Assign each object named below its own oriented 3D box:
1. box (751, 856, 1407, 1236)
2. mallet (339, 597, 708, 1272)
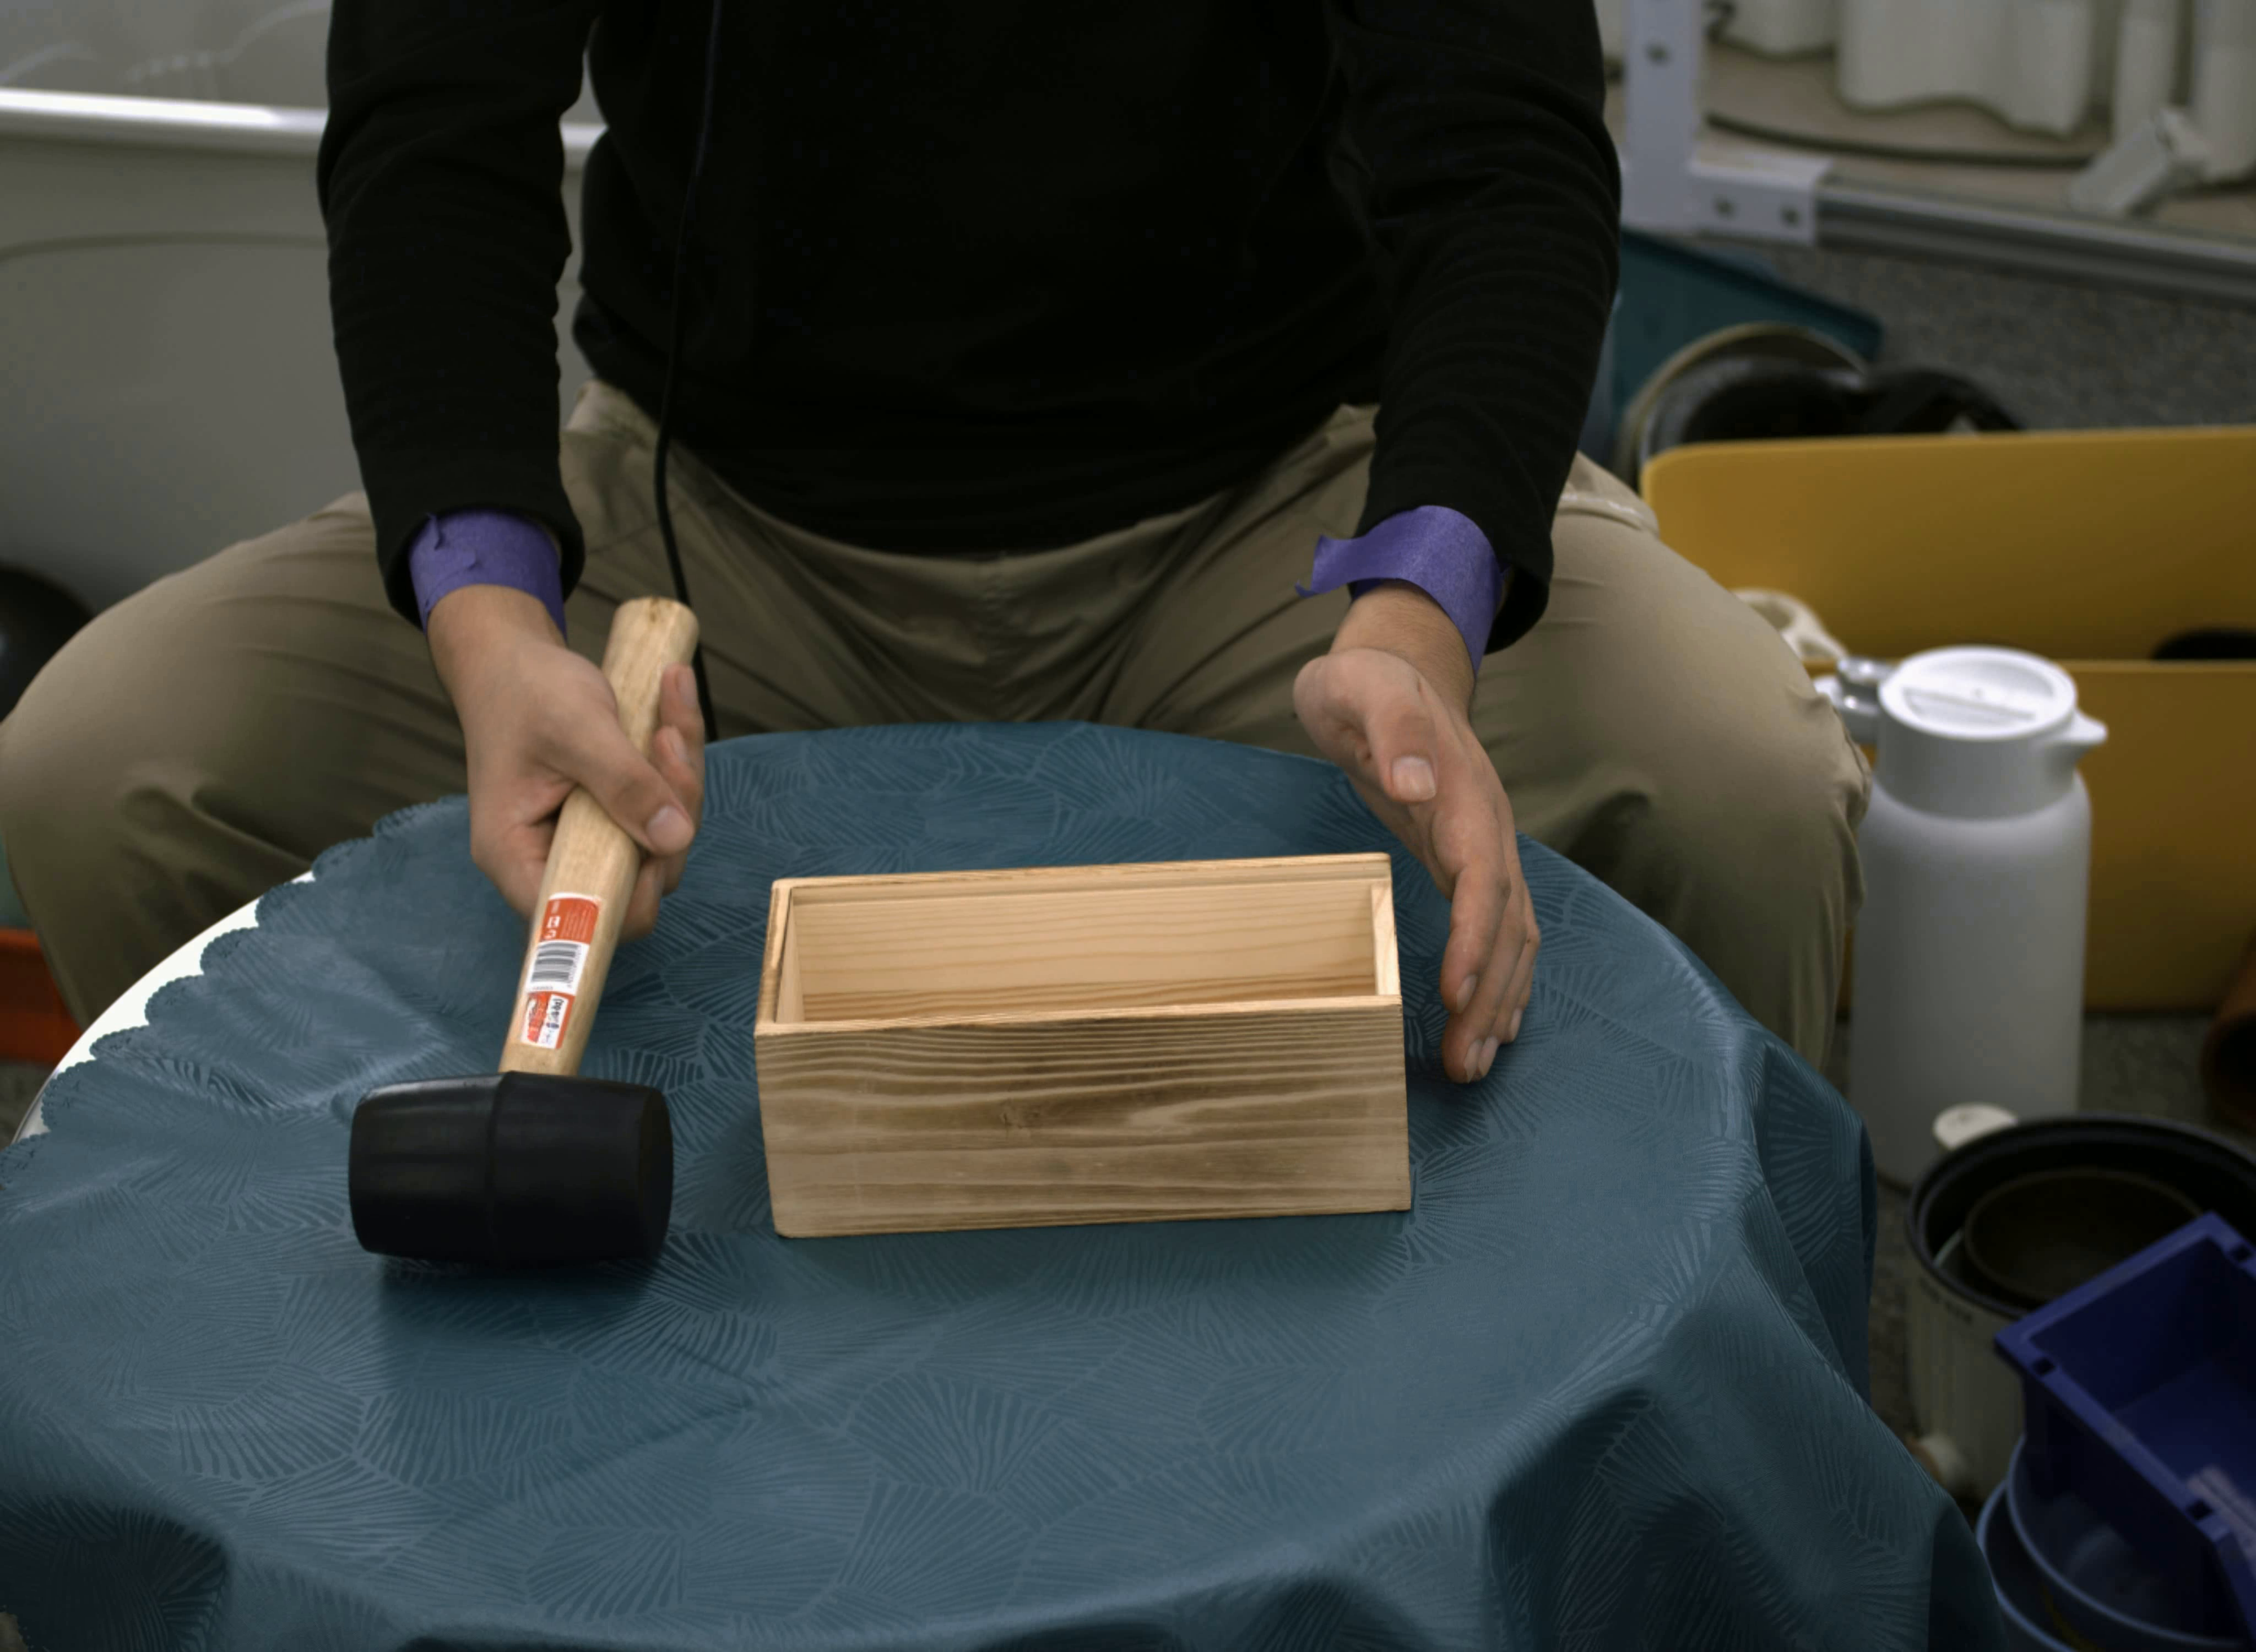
[{"bbox_3d":[-0.015,0.072,1.869,0.210,0.079,0.109,-2,26,1],"label":"box"},{"bbox_3d":[-0.189,0.023,1.934,0.101,0.063,0.346,3,40,5],"label":"mallet"}]
